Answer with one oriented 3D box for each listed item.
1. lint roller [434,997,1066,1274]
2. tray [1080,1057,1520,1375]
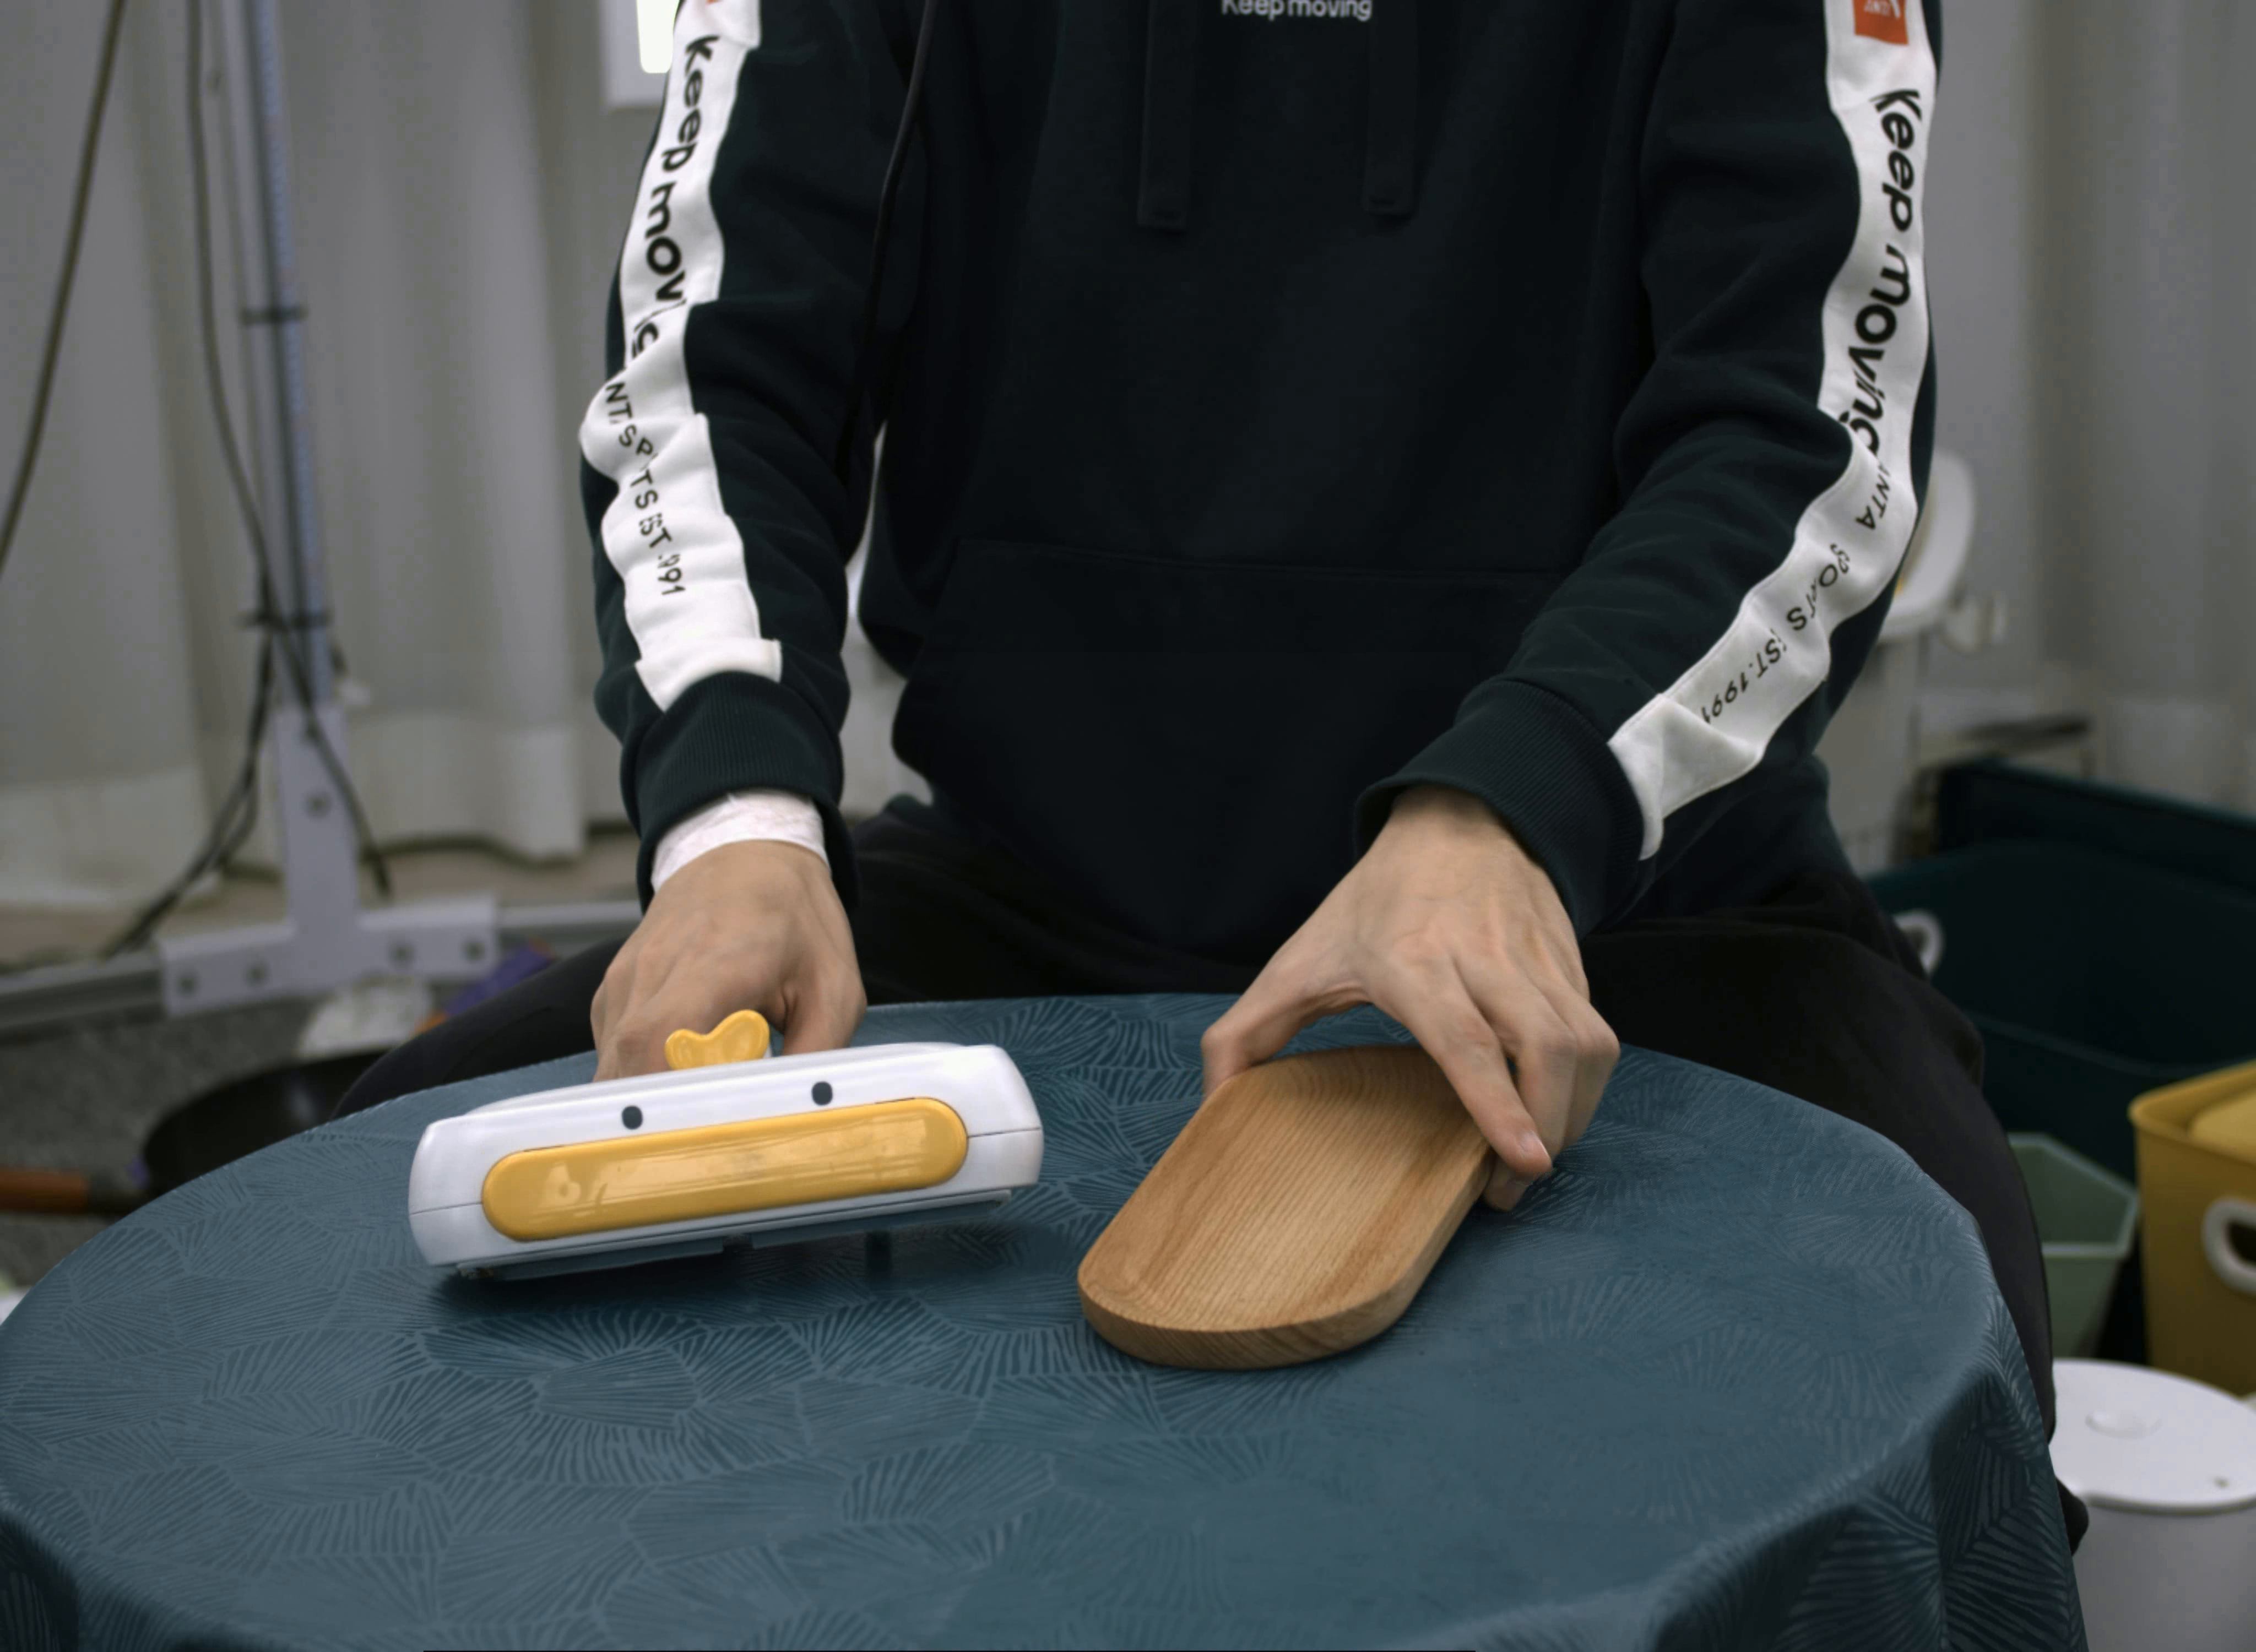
[{"bbox_3d":[-0.124,0.090,1.717,0.192,0.074,0.193,-12,4,-7],"label":"lint roller"},{"bbox_3d":[0.055,0.116,1.652,0.101,0.020,0.232,1,19,16],"label":"tray"}]
